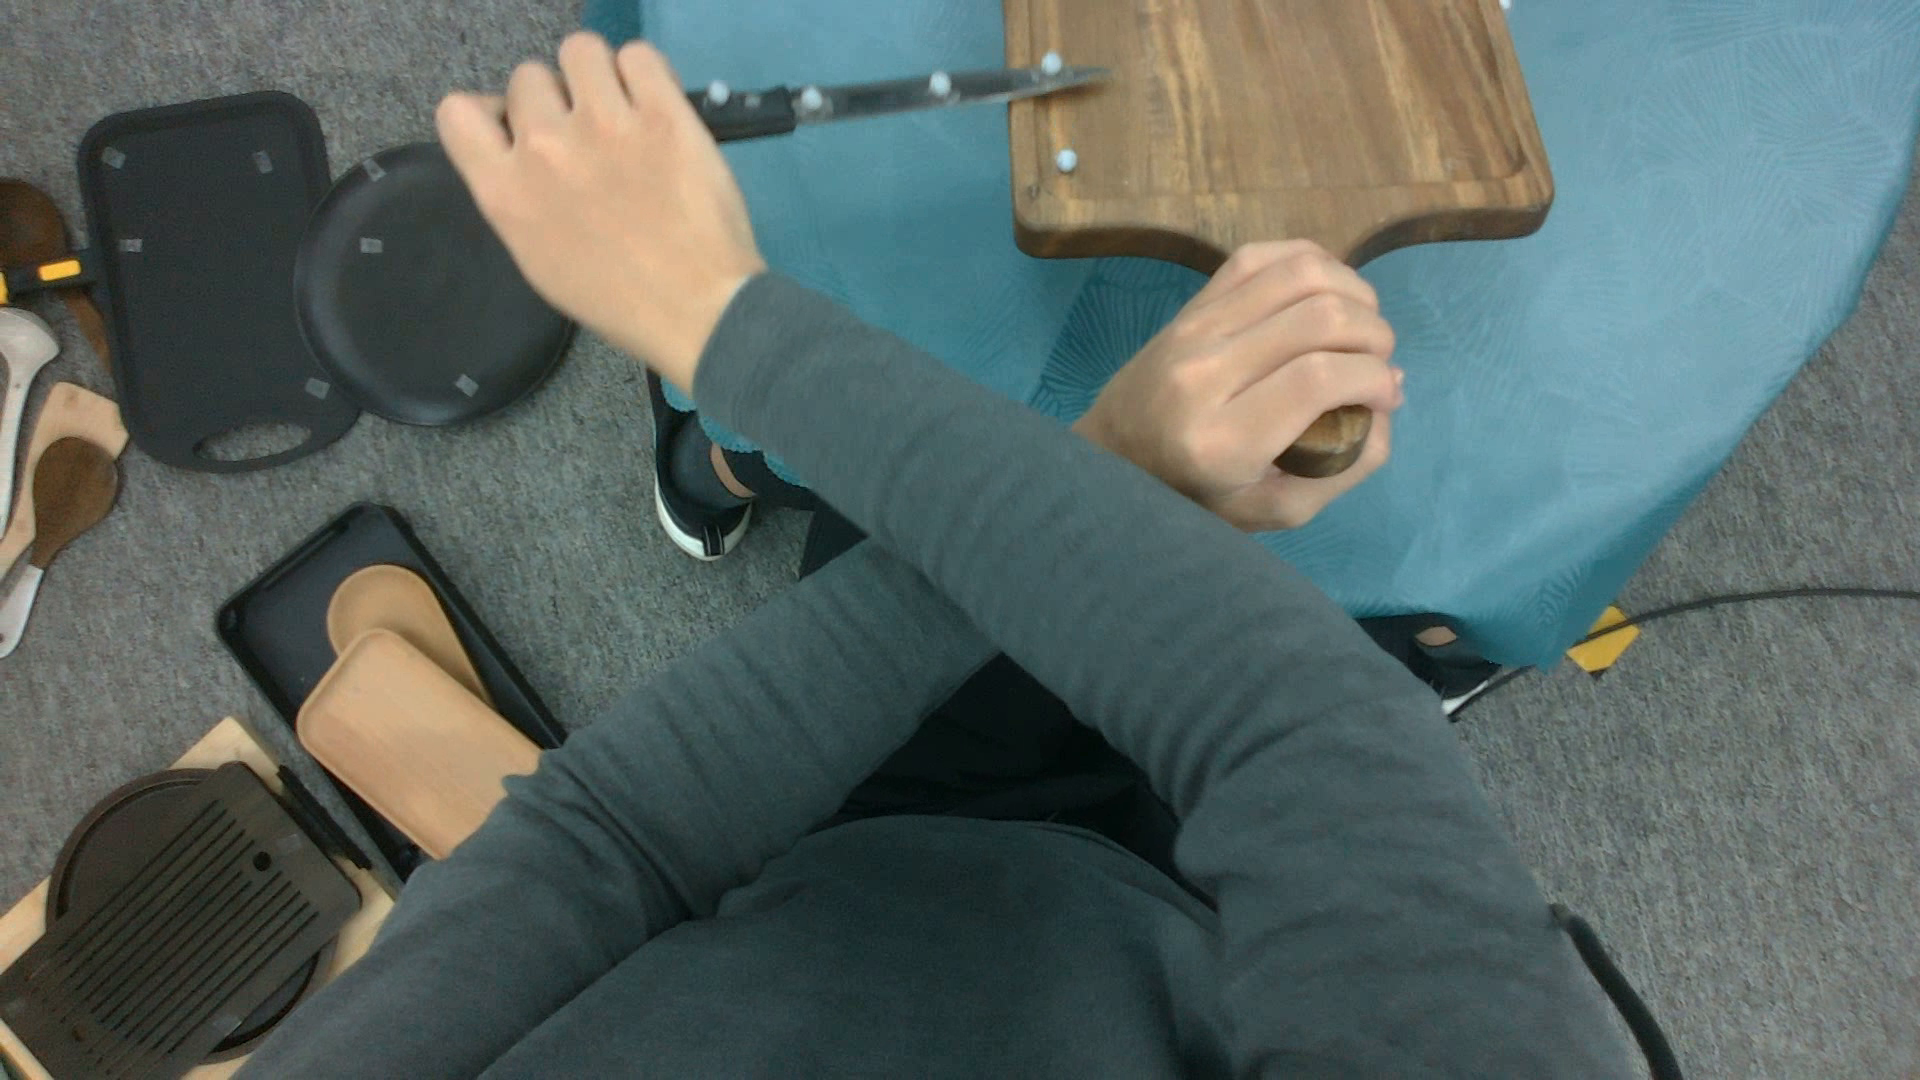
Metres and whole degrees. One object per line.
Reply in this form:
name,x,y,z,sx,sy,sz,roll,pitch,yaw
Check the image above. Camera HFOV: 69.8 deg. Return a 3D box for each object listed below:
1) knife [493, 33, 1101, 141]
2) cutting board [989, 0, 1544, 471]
knife,-0.060,-0.178,0.535,0.238,0.016,0.024,-9,58,-5
cutting board,0.113,-0.180,0.544,0.201,0.023,0.353,-2,60,1
